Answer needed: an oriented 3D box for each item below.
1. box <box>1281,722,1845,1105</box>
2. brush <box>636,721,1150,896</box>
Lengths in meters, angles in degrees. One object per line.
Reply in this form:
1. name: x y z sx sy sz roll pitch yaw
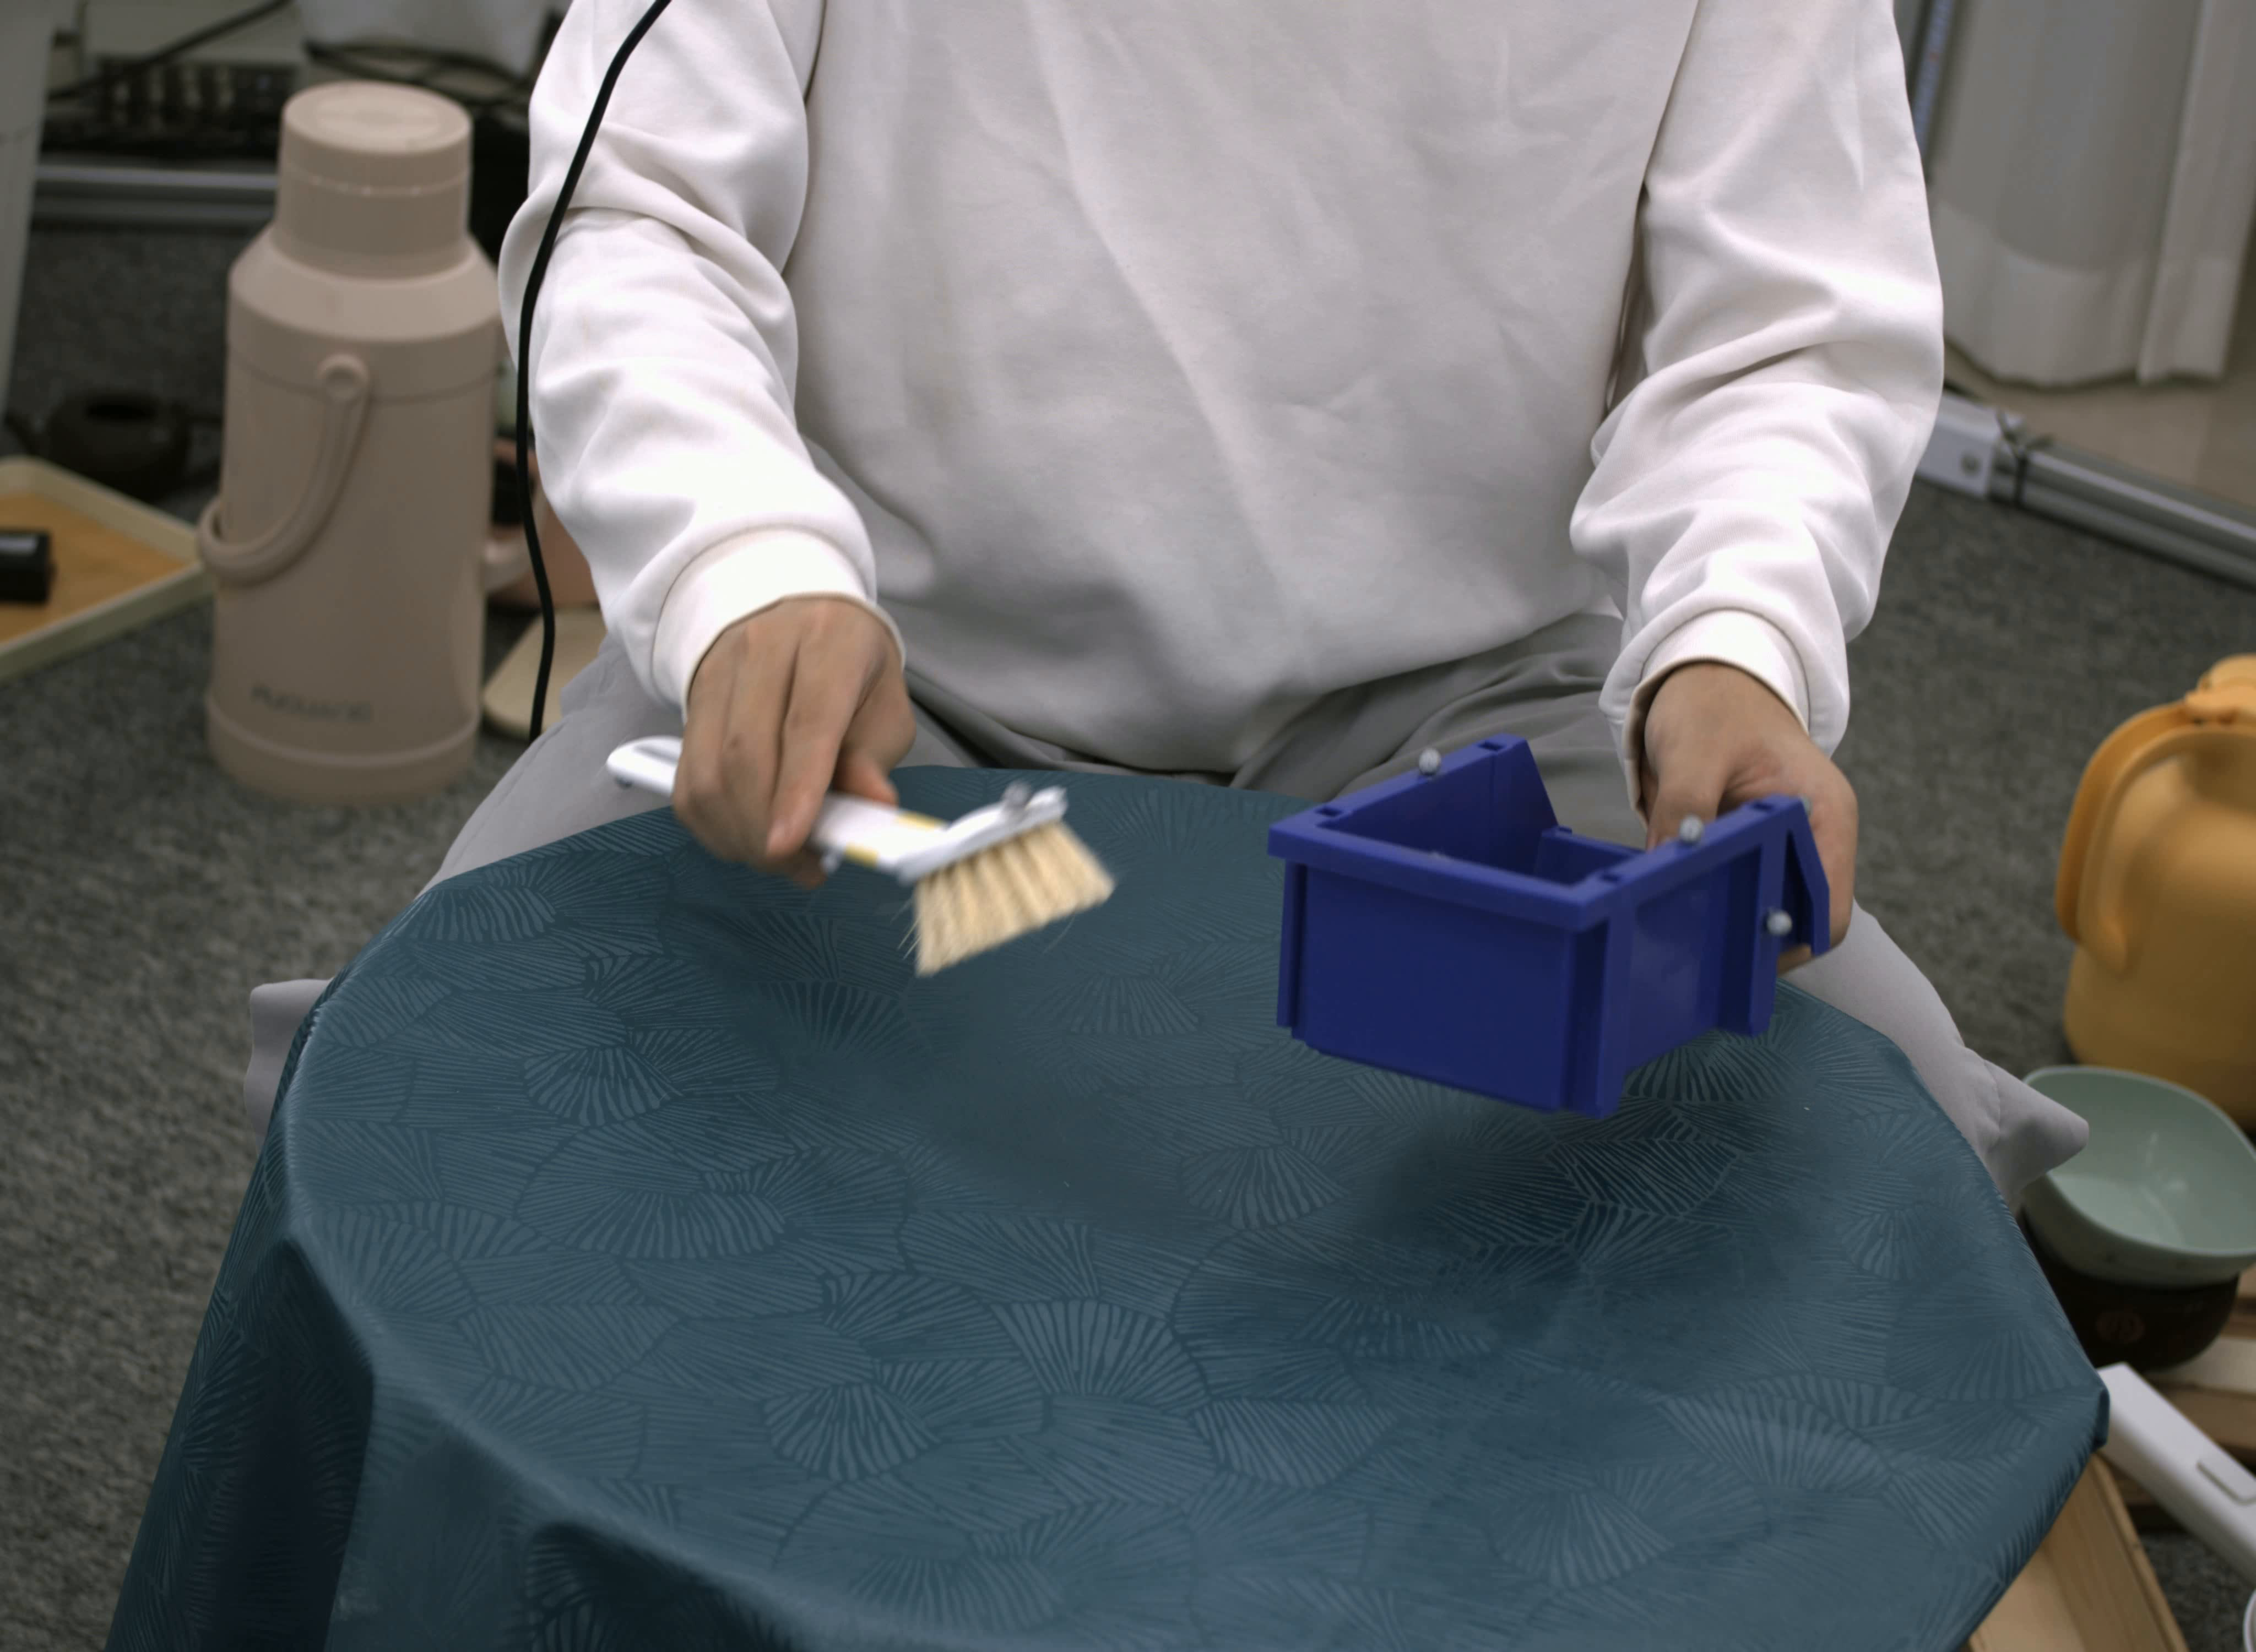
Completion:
1. box: 0.148 0.025 1.804 0.125 0.082 0.178 13 22 33
2. brush: -0.088 -0.004 1.838 0.068 0.056 0.268 -5 2 -38
